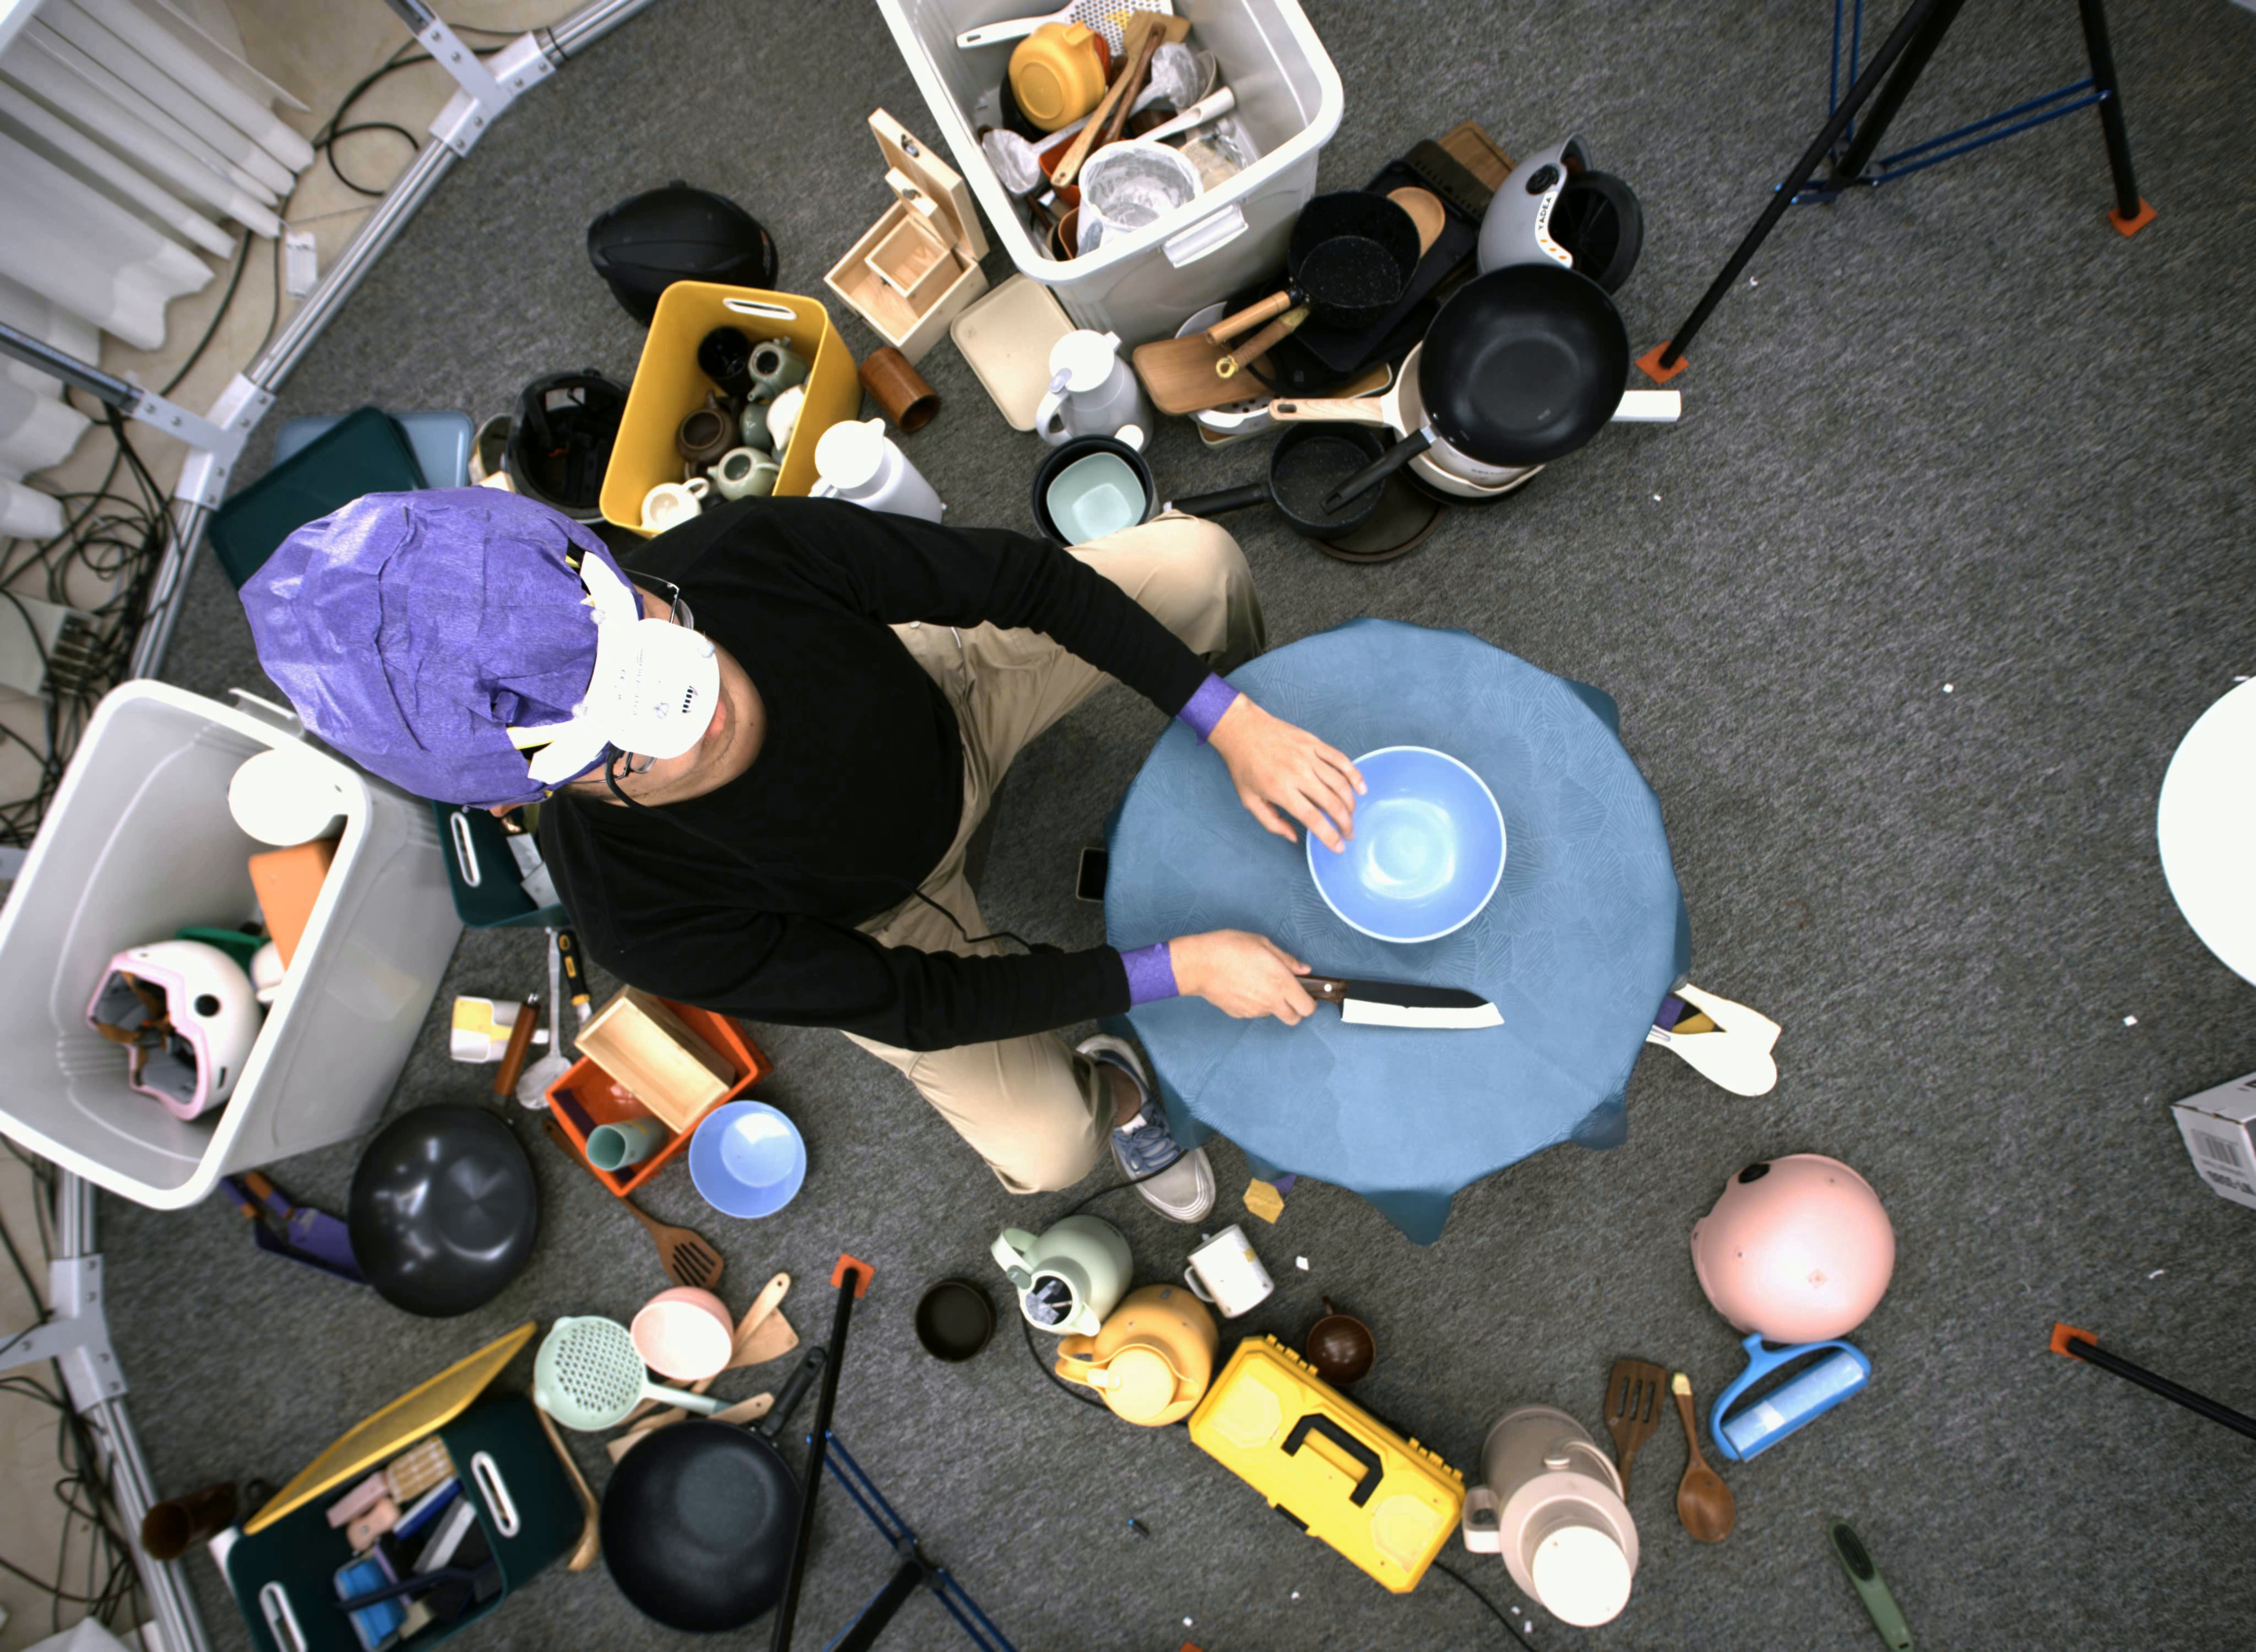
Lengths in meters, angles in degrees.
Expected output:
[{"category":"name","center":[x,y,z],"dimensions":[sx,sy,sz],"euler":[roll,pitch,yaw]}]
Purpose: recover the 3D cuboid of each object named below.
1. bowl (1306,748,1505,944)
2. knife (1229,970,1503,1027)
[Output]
[{"category":"bowl","center":[0.284,0.022,1.416],"dimensions":[0.197,0.095,0.196],"euler":[-1,87,13]},{"category":"knife","center":[0.247,0.179,1.438],"dimensions":[0.289,0.020,0.050],"euler":[7,86,3]}]
